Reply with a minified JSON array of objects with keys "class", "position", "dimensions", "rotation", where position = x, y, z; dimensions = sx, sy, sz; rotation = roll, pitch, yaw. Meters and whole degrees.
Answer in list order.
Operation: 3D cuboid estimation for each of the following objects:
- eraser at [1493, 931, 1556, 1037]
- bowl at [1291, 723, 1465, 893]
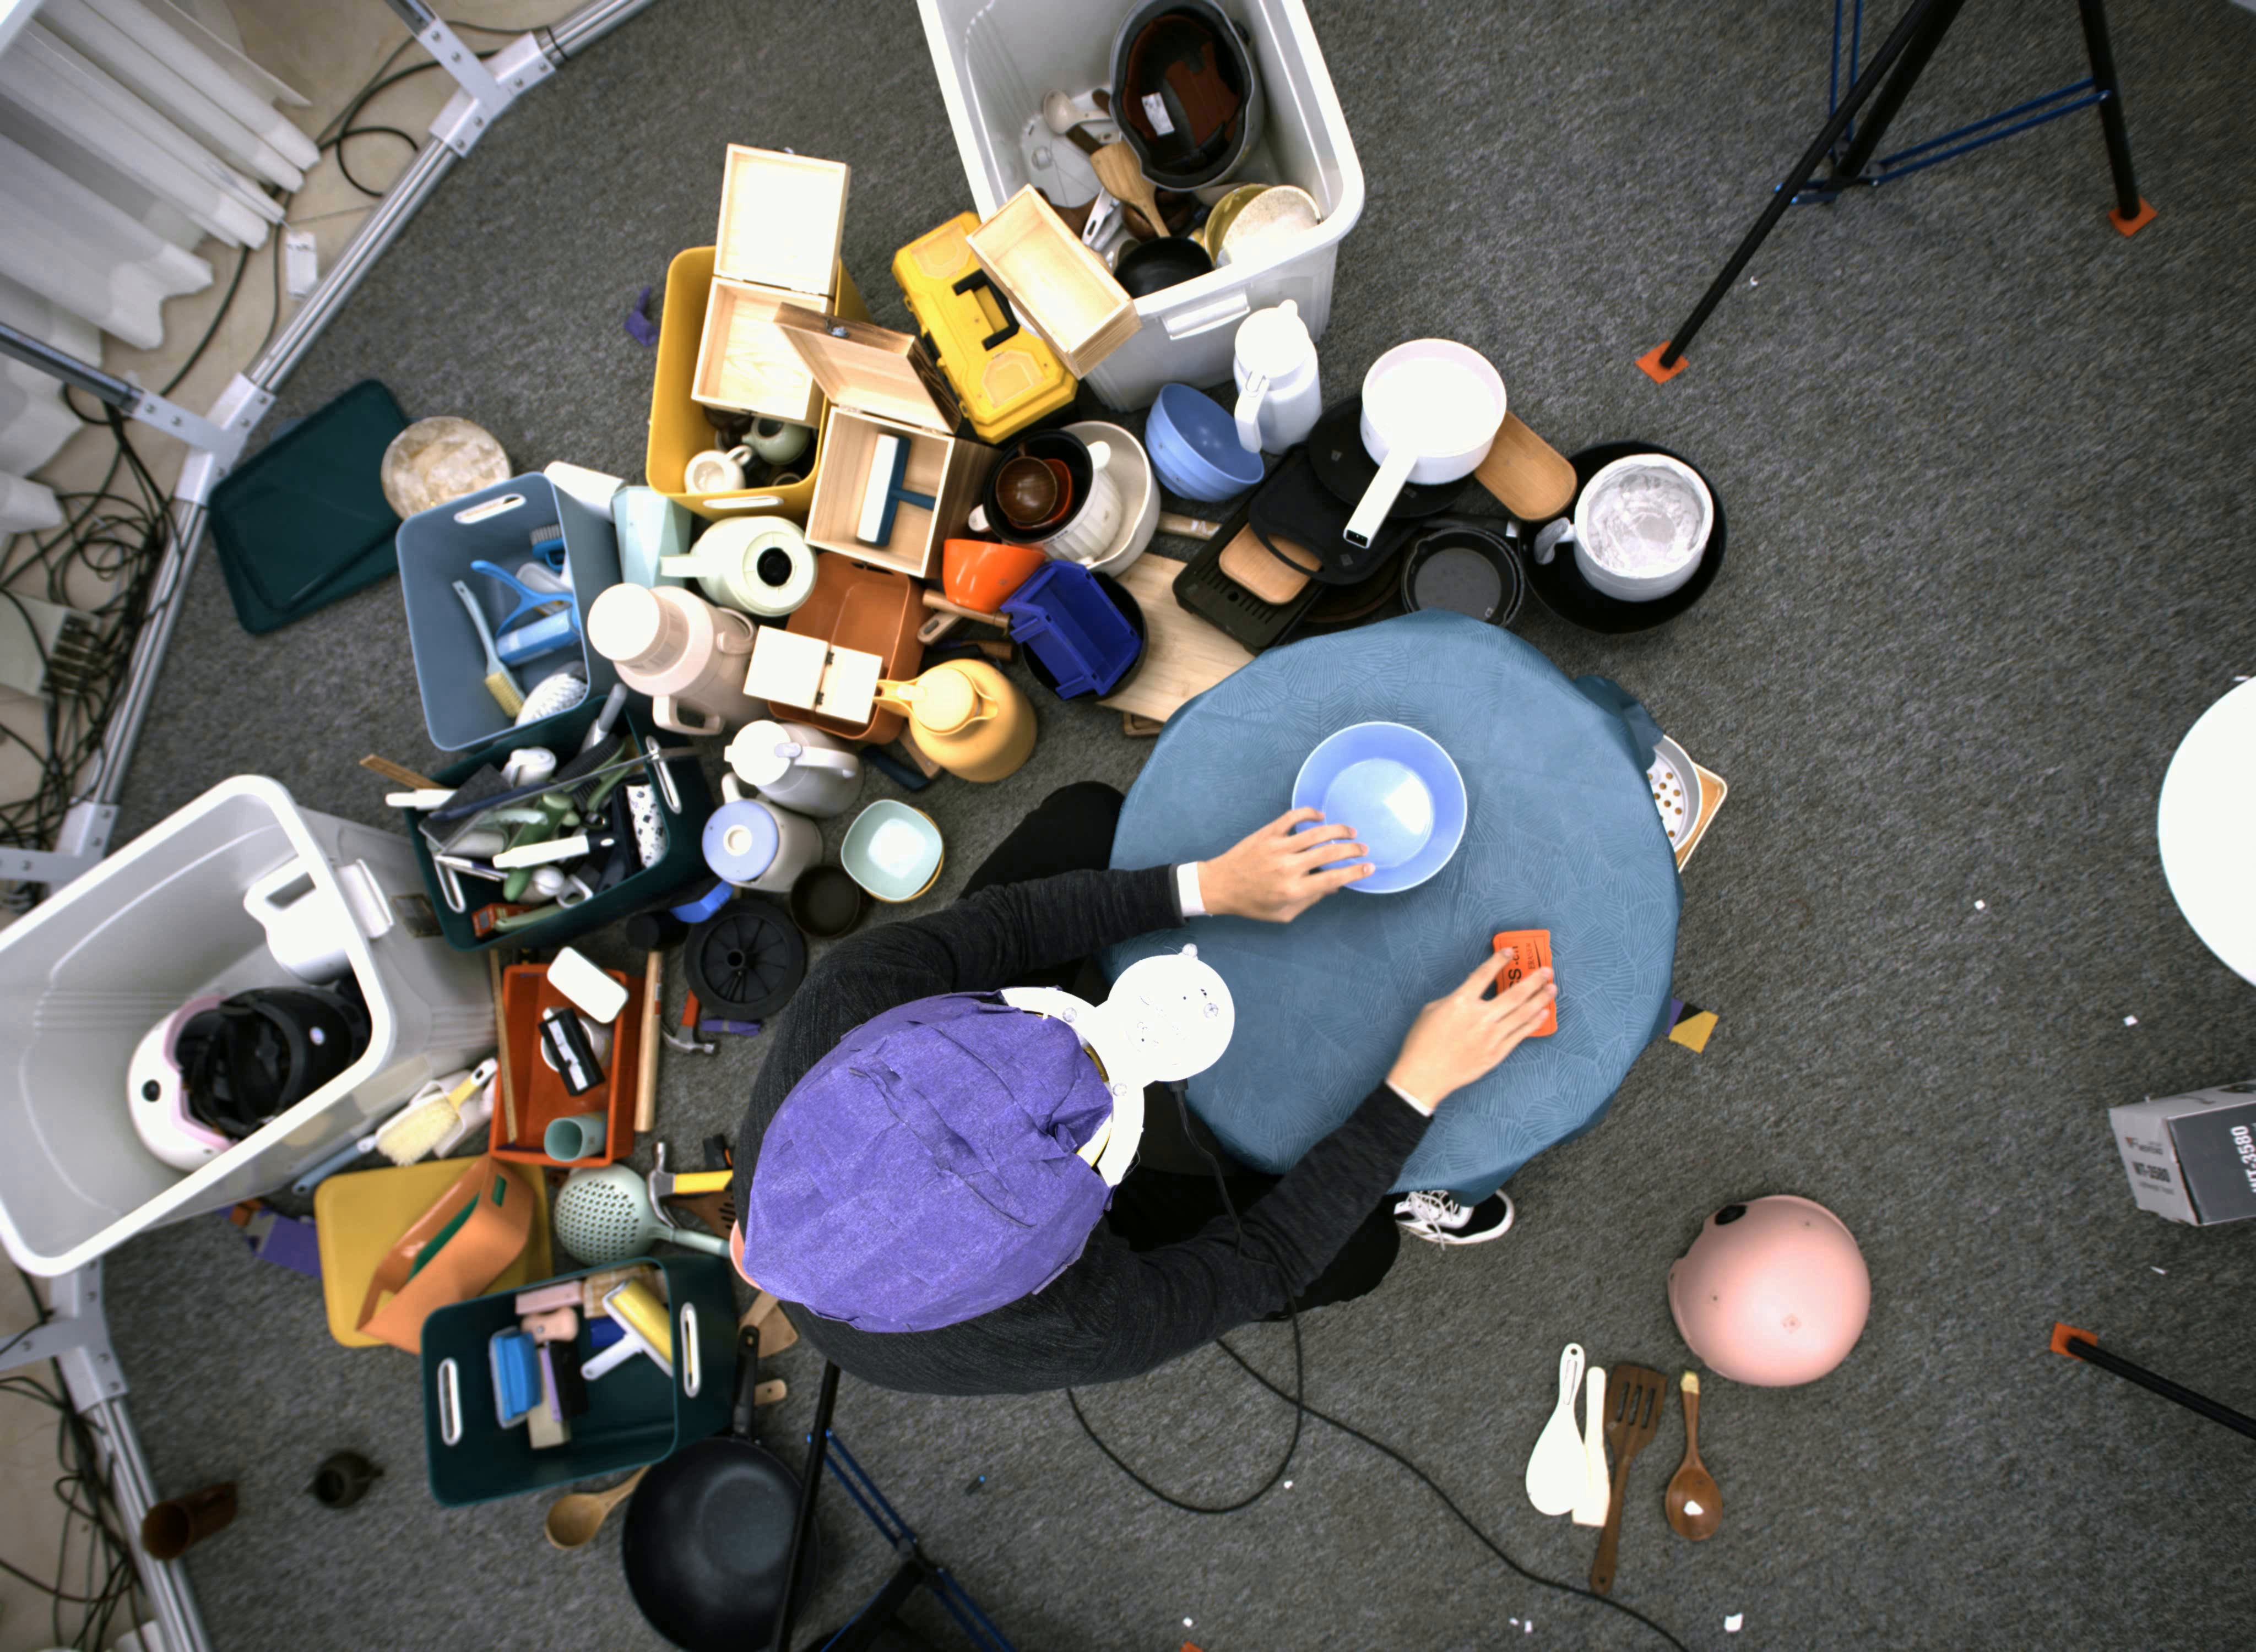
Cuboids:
[{"class":"eraser","position":[0.408,0.160,1.418],"dimensions":[0.059,0.023,0.107],"rotation":[-3,87,9]},{"class":"bowl","position":[0.258,-0.017,1.432],"dimensions":[0.177,0.070,0.175],"rotation":[-1,86,10]}]
